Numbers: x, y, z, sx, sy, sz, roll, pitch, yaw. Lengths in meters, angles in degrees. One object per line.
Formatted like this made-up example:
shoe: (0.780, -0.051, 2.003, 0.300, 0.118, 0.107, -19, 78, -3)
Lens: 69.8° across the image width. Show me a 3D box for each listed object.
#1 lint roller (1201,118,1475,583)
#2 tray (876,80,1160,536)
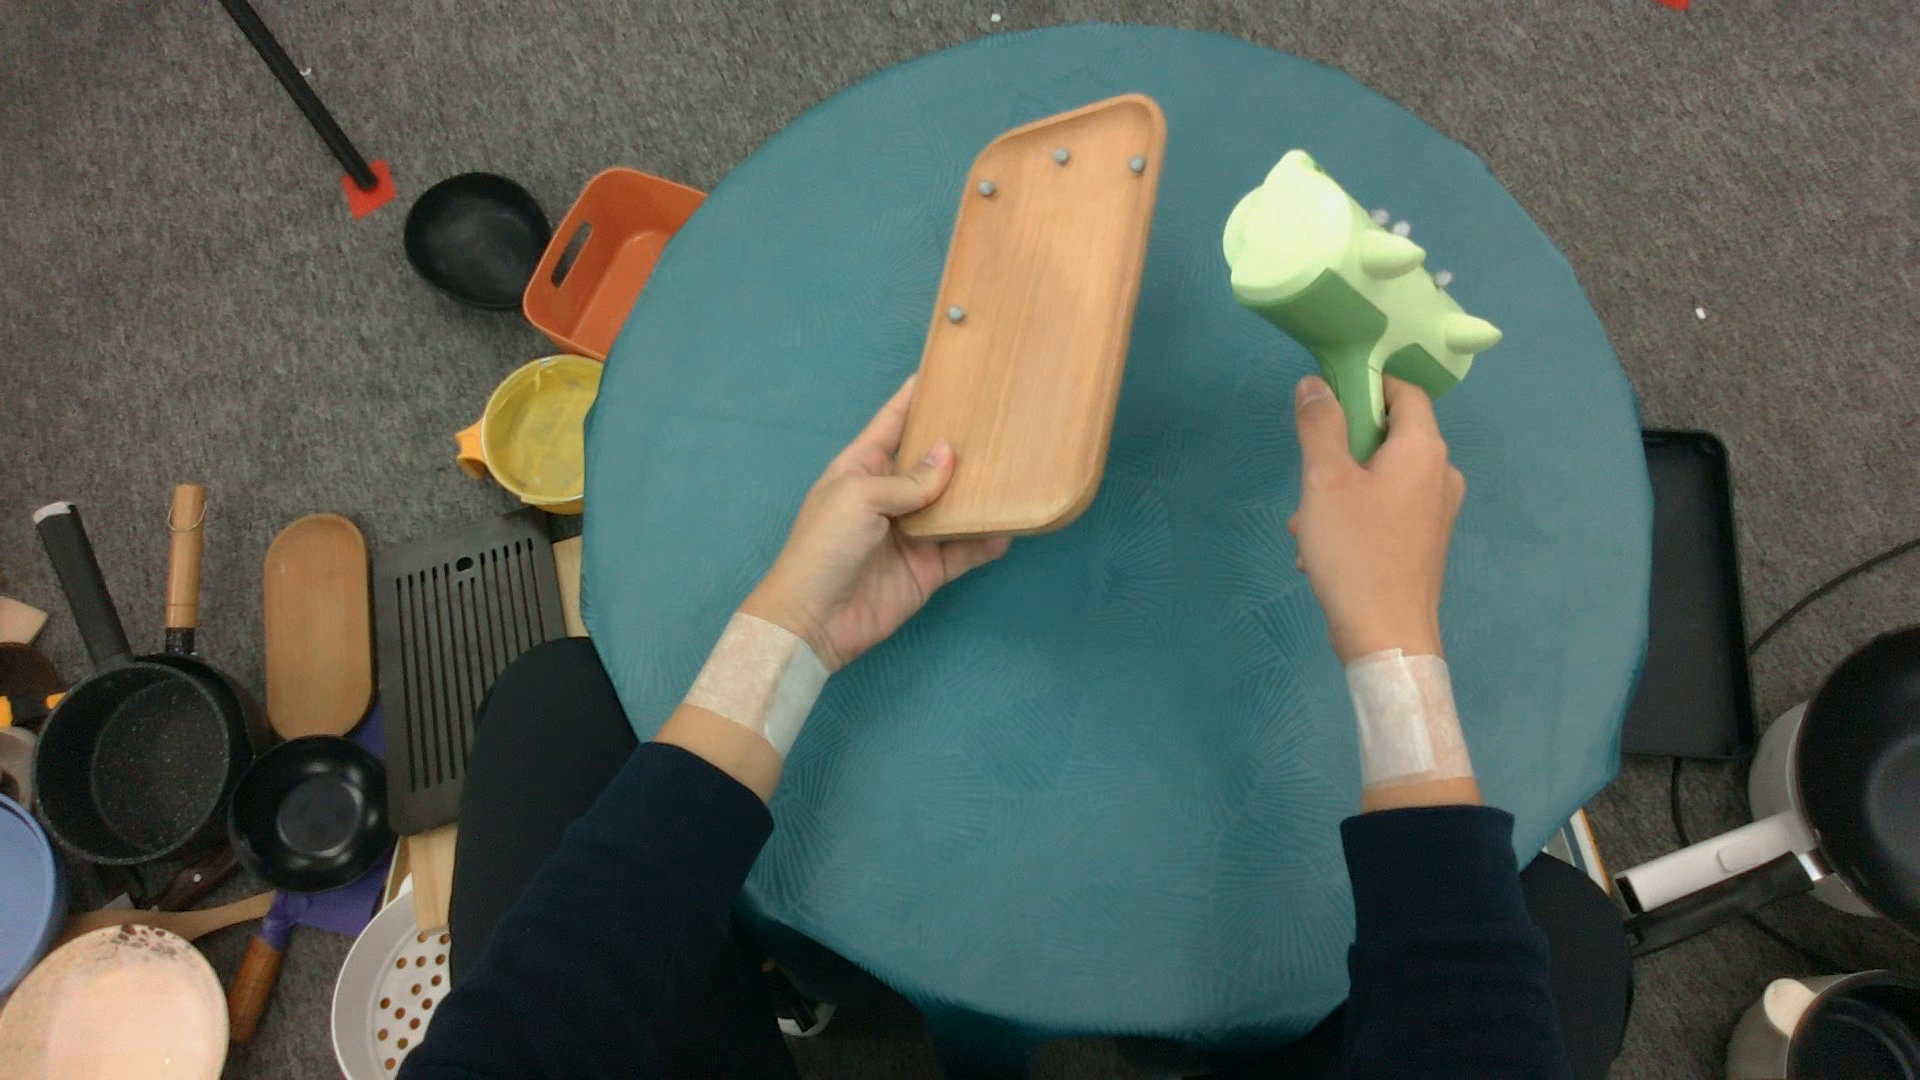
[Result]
lint roller: (0.187, -0.076, 0.629, 0.082, 0.199, 0.183, -16, 72, 32)
tray: (0.031, -0.118, 0.695, 0.130, 0.023, 0.251, -6, 63, 41)
